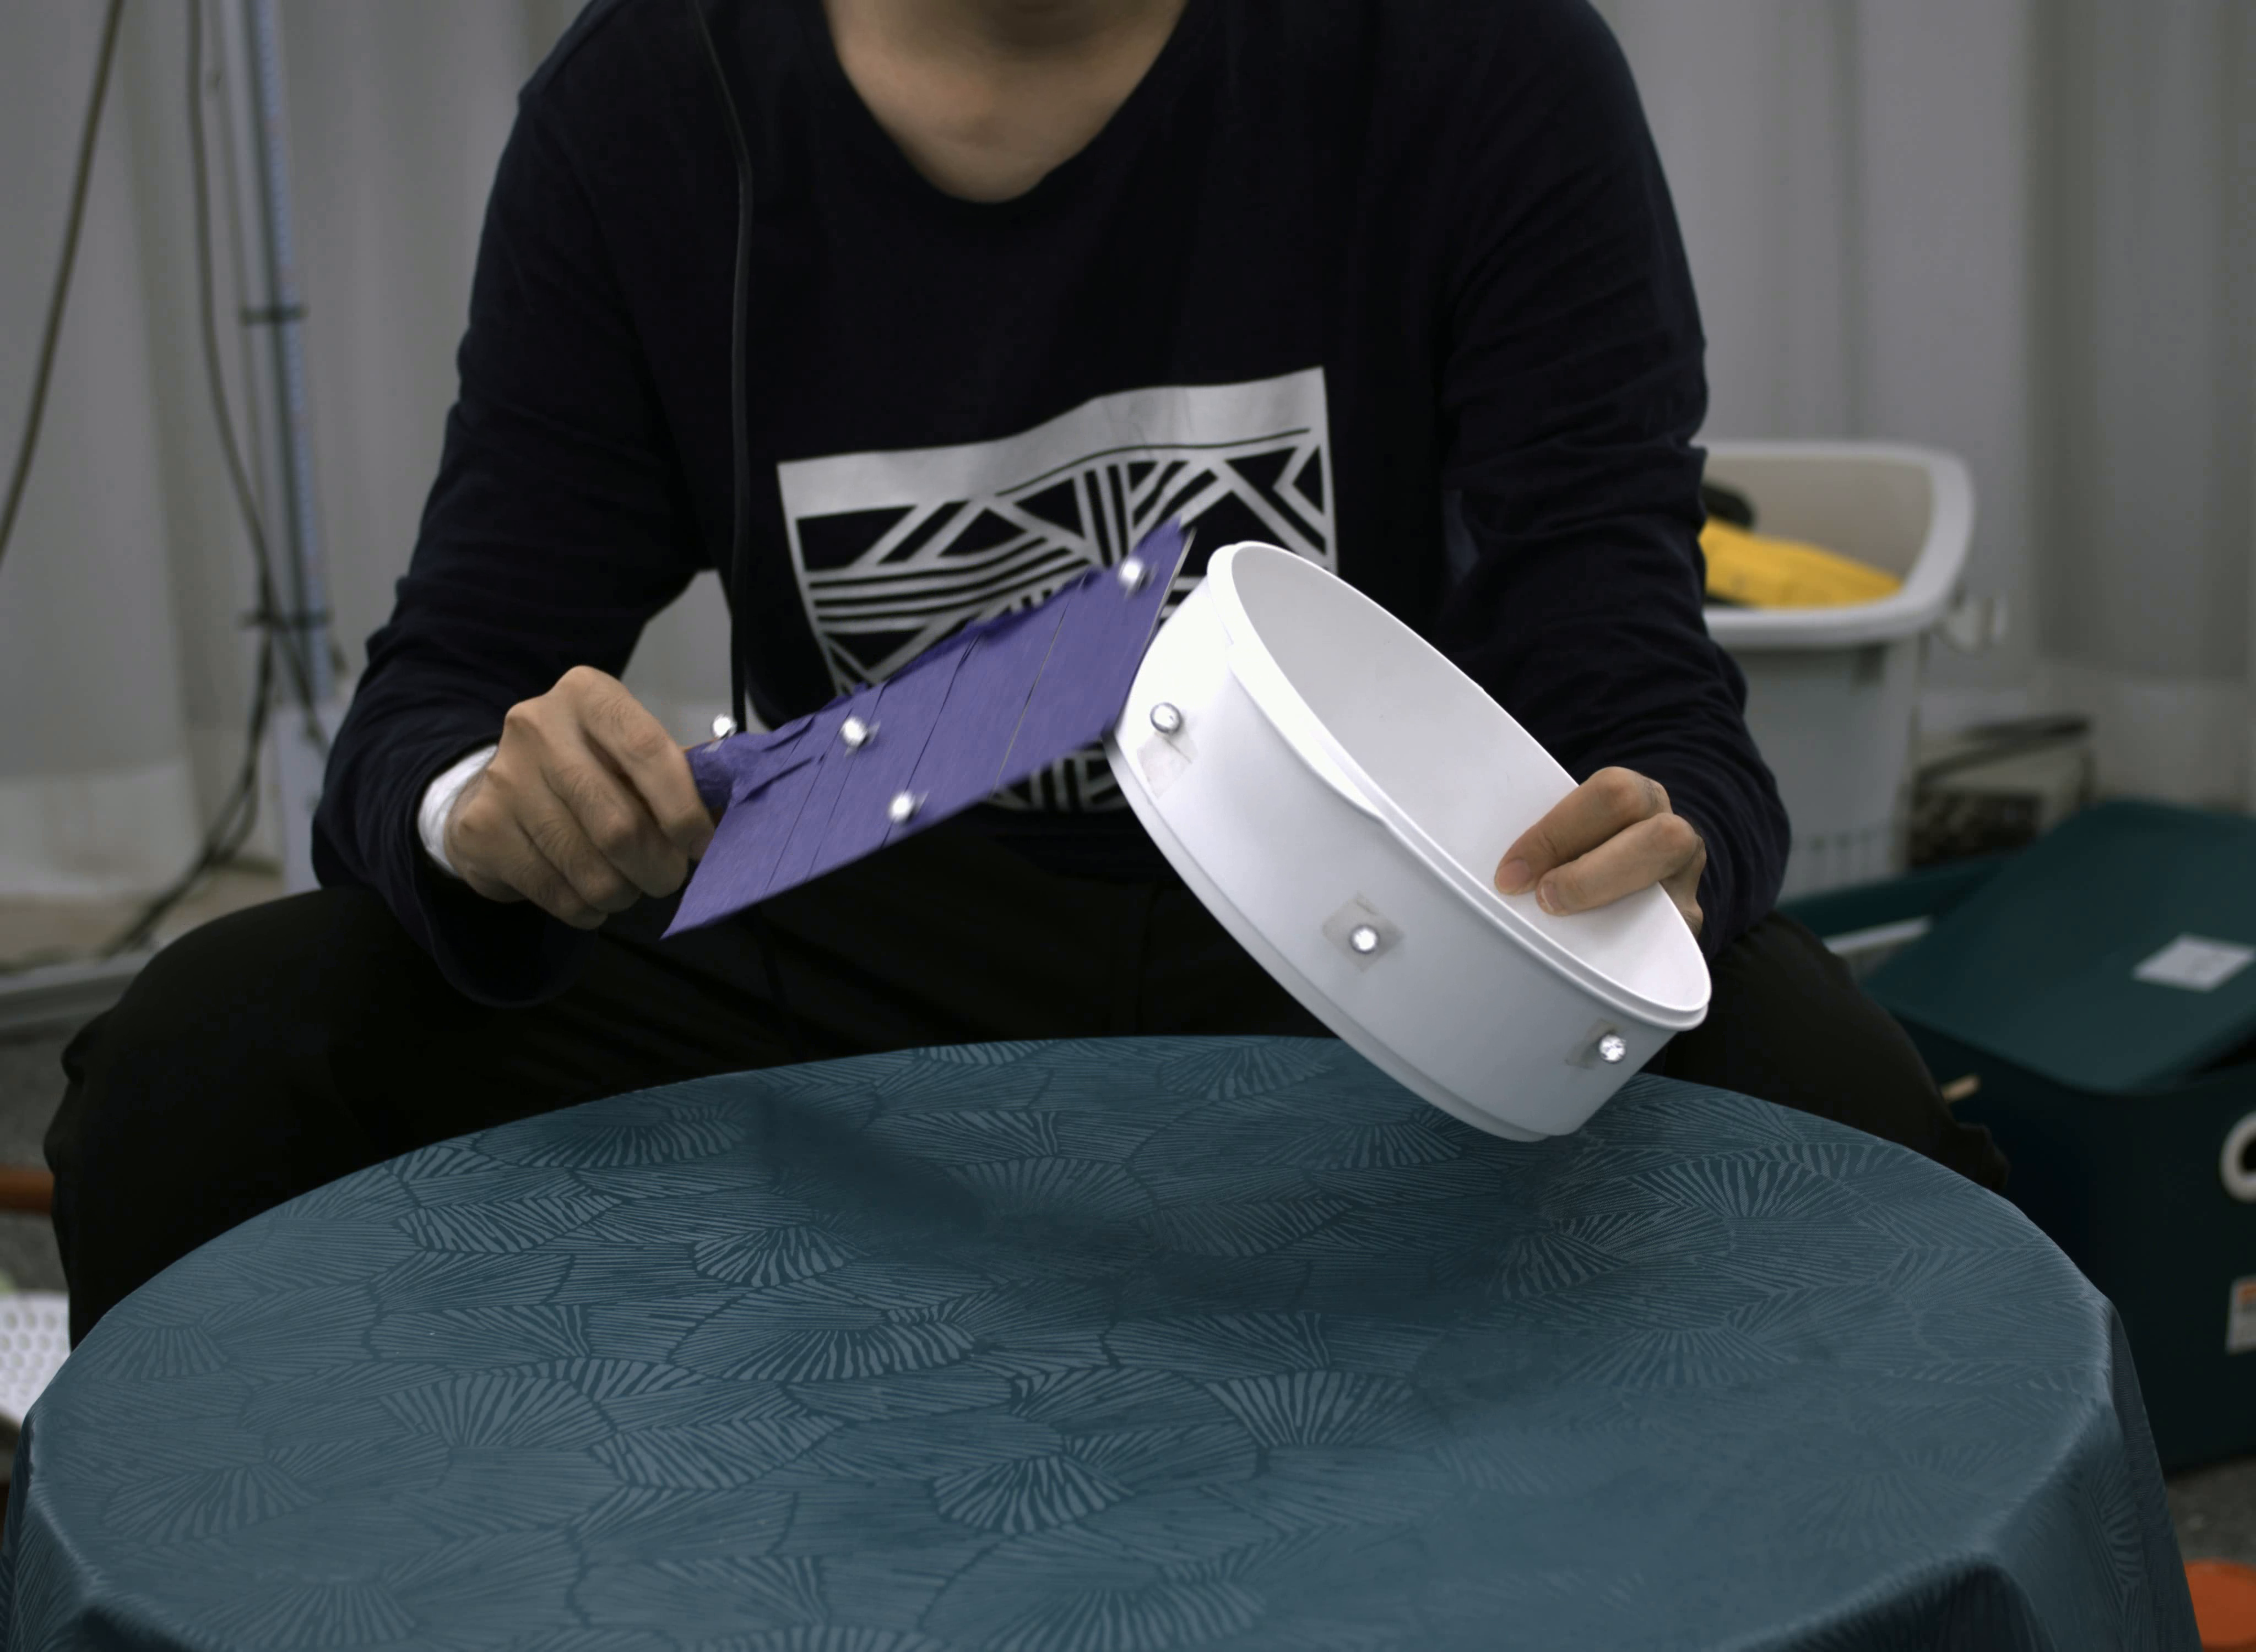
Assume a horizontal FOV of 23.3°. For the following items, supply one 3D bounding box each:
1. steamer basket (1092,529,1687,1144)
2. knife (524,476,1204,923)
[{"bbox_3d":[0.075,0.006,1.626,0.204,0.069,0.228,53,16,28],"label":"steamer basket"},{"bbox_3d":[-0.098,-0.019,1.719,0.314,0.032,0.105,-29,26,41],"label":"knife"}]
